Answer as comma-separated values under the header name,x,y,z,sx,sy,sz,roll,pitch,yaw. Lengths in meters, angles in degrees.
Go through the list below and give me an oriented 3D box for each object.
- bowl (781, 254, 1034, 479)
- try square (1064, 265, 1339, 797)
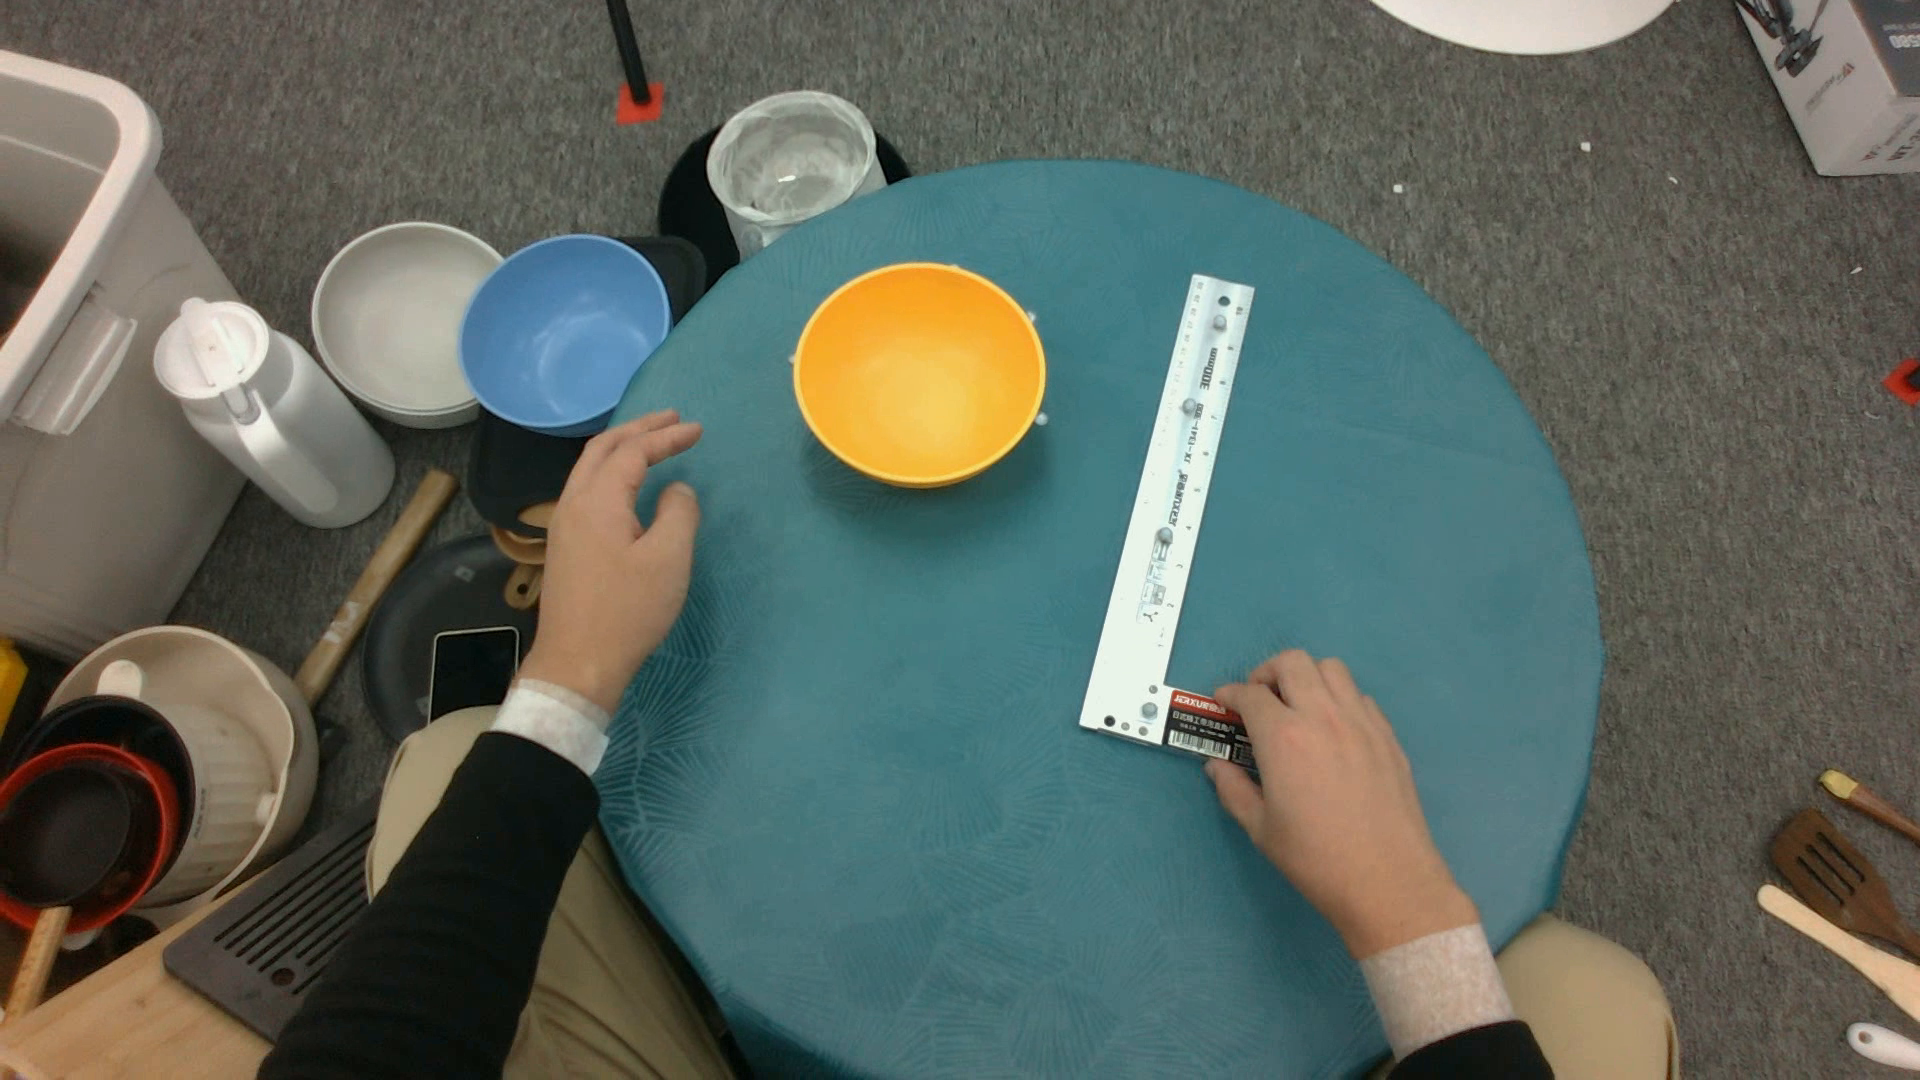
name,x,y,z,sx,sy,sz,roll,pitch,yaw
bowl,-0.029,-0.093,0.813,0.145,0.060,0.146,-1,68,2
try square,0.169,-0.017,0.815,0.152,0.016,0.314,17,67,1
